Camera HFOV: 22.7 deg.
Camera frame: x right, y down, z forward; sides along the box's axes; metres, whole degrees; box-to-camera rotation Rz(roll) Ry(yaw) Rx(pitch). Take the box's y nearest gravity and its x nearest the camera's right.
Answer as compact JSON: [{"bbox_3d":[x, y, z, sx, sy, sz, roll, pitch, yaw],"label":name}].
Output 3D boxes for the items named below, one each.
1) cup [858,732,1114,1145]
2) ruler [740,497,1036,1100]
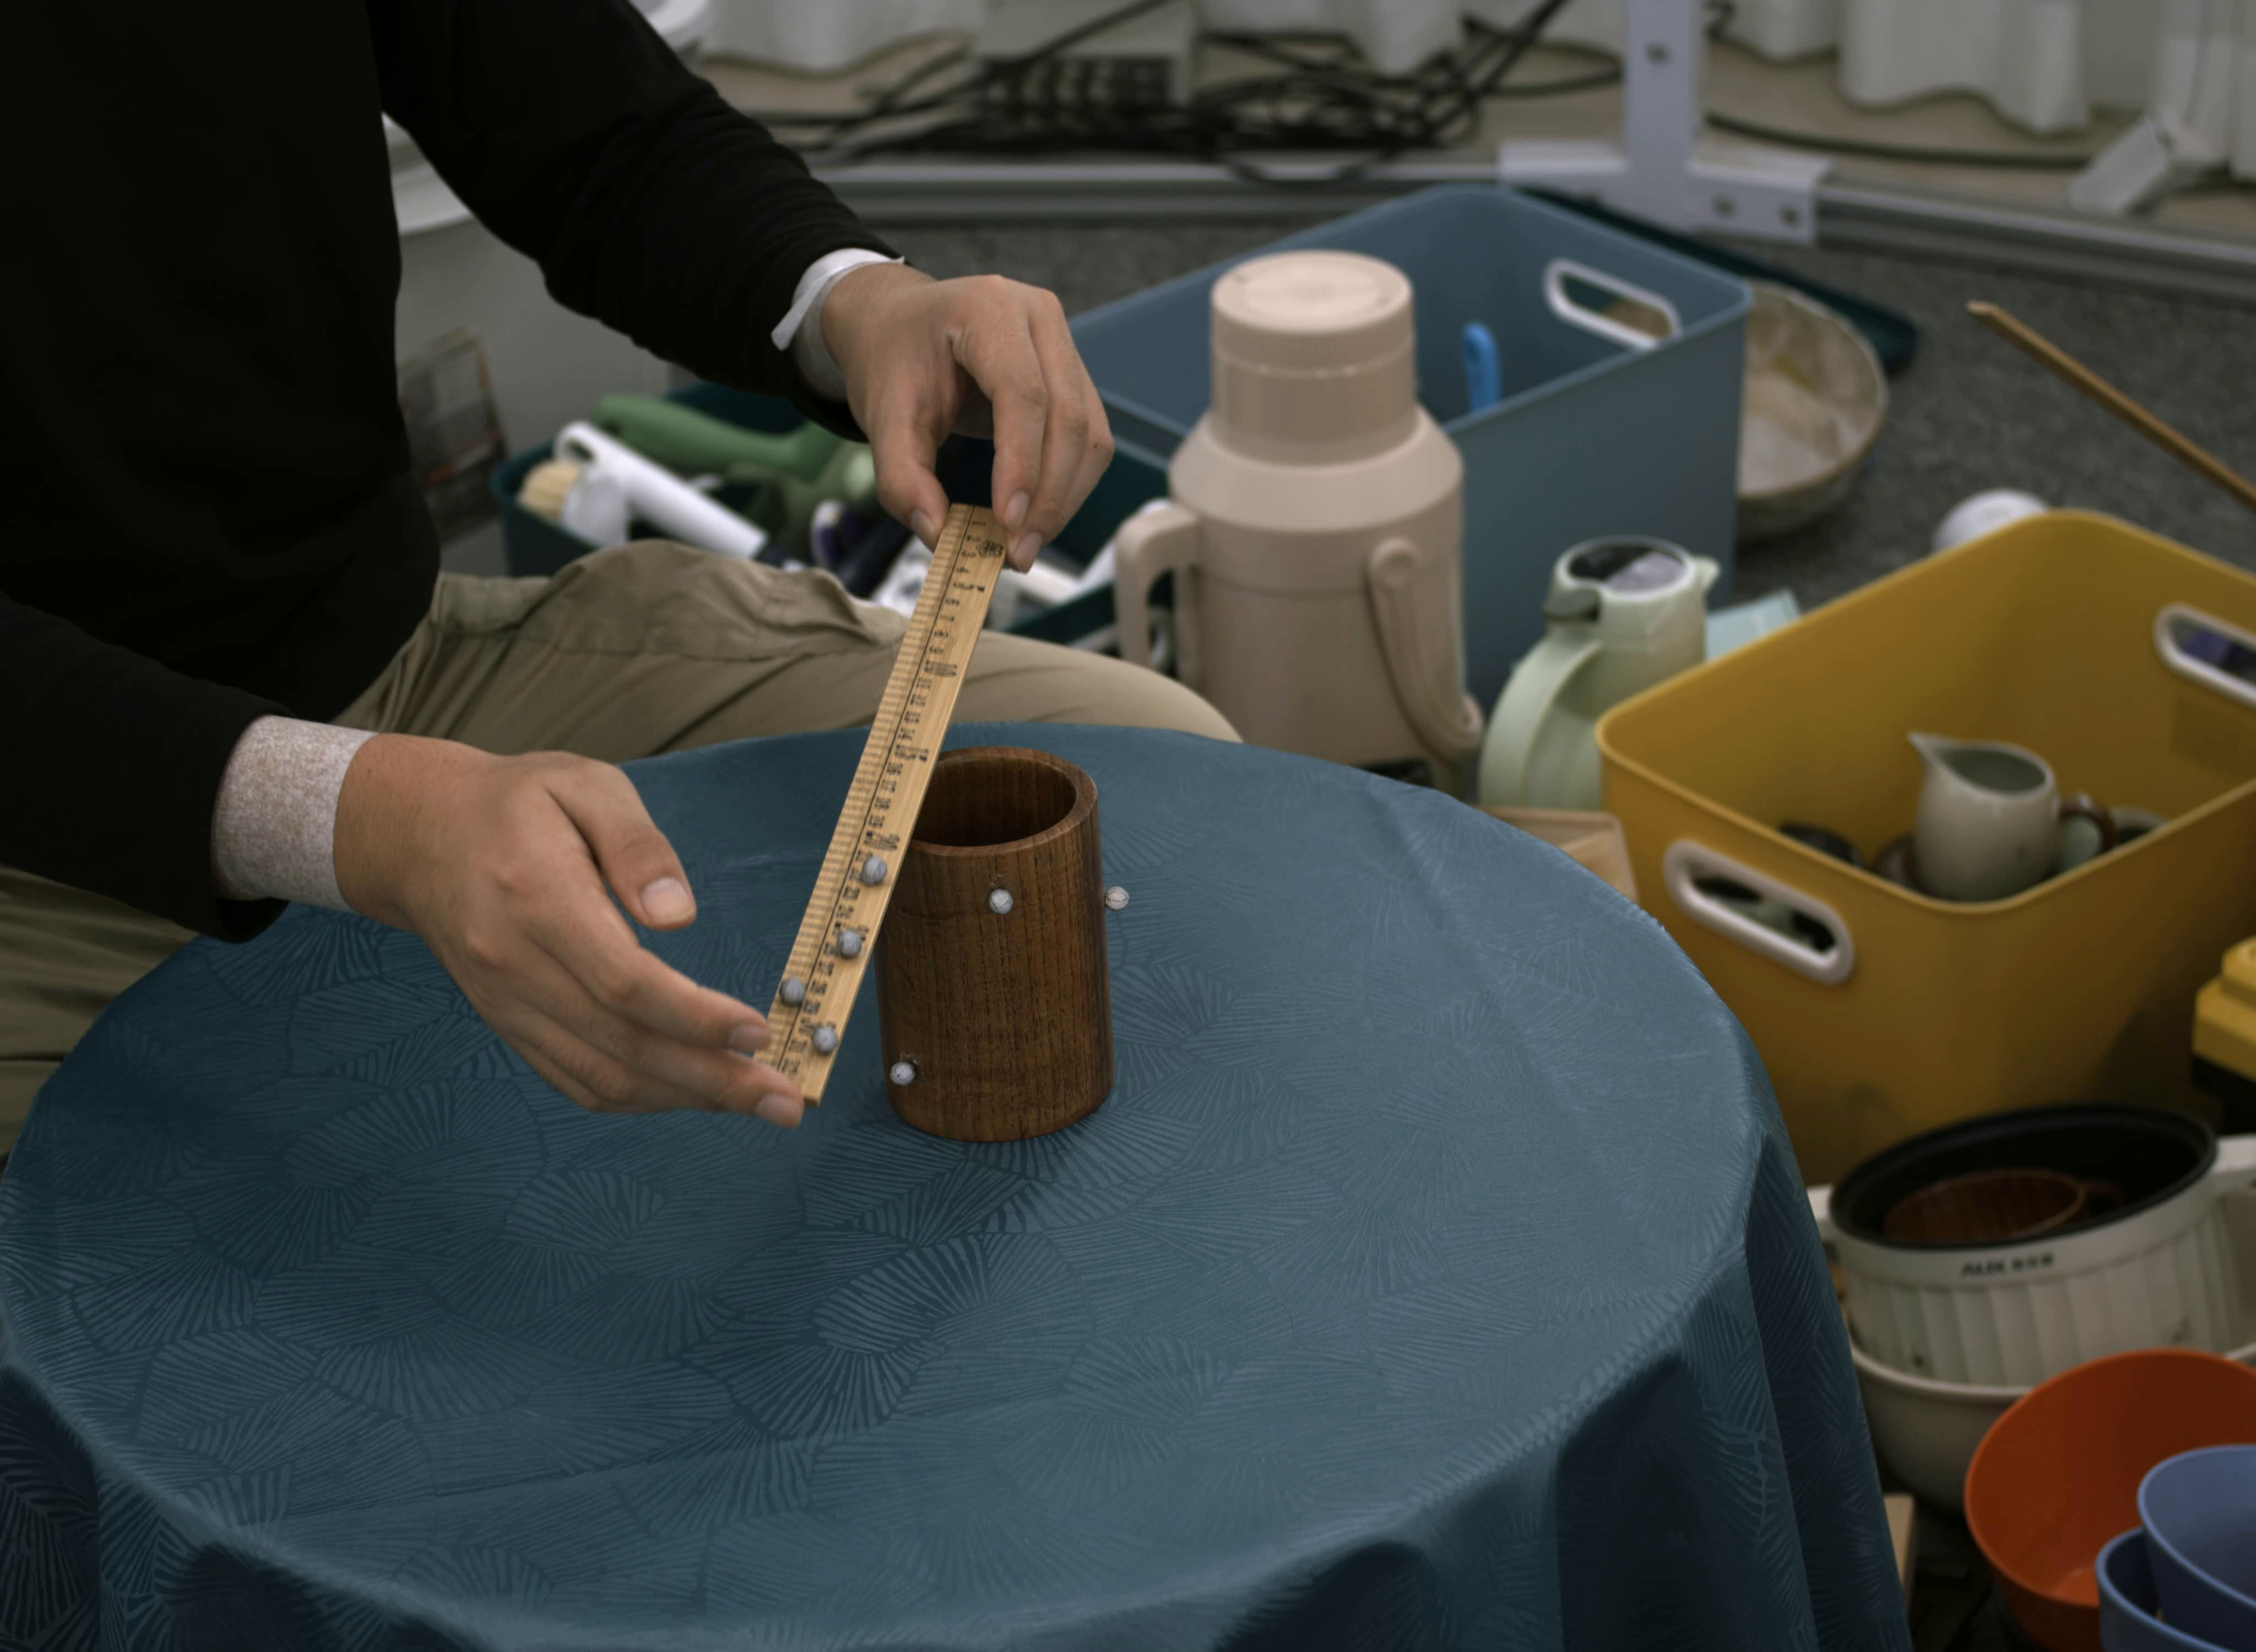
[{"bbox_3d":[-0.047,0.038,1.902,0.087,0.117,0.089,-2,25,1],"label":"cup"},{"bbox_3d":[-0.077,-0.019,1.868,0.027,0.022,0.338,15,37,3],"label":"ruler"}]
